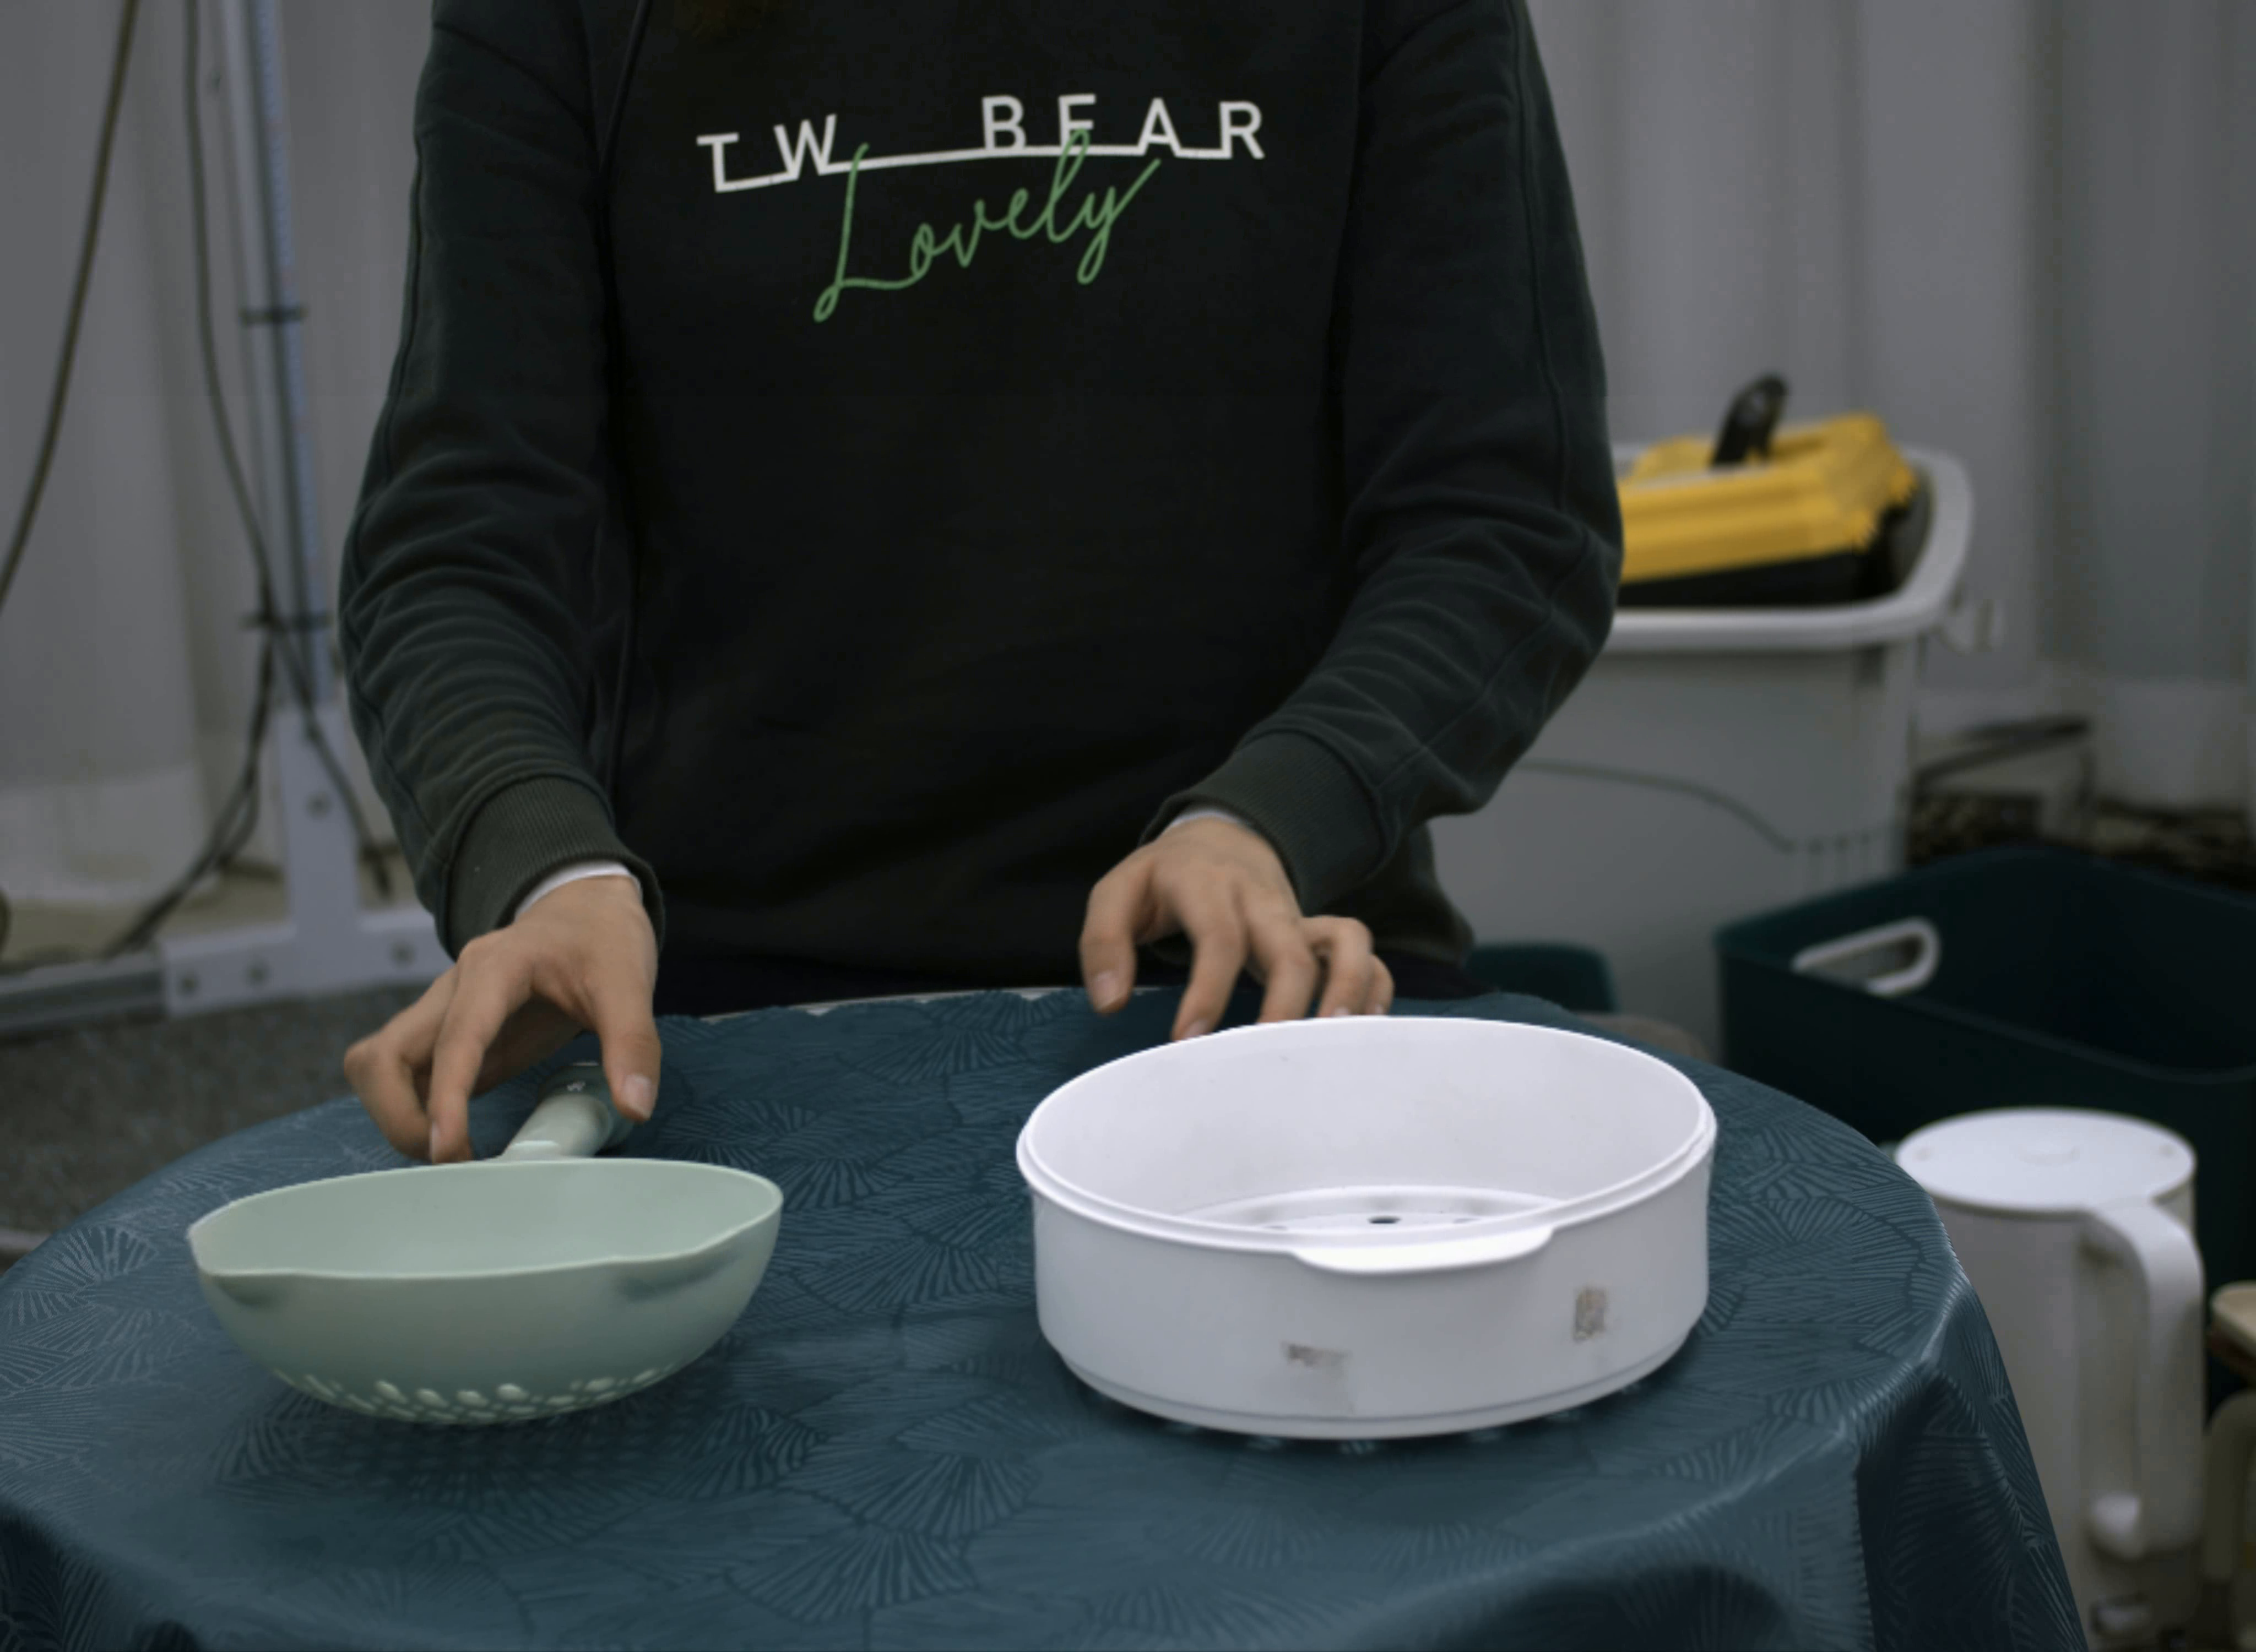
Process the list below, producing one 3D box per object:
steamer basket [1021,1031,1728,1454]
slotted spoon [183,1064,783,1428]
[{"bbox_3d":[0.071,0.118,1.563,0.201,0.069,0.232,-4,15,-7],"label":"steamer basket"},{"bbox_3d":[-0.178,0.110,1.642,0.169,0.075,0.361,-2,15,2],"label":"slotted spoon"}]
